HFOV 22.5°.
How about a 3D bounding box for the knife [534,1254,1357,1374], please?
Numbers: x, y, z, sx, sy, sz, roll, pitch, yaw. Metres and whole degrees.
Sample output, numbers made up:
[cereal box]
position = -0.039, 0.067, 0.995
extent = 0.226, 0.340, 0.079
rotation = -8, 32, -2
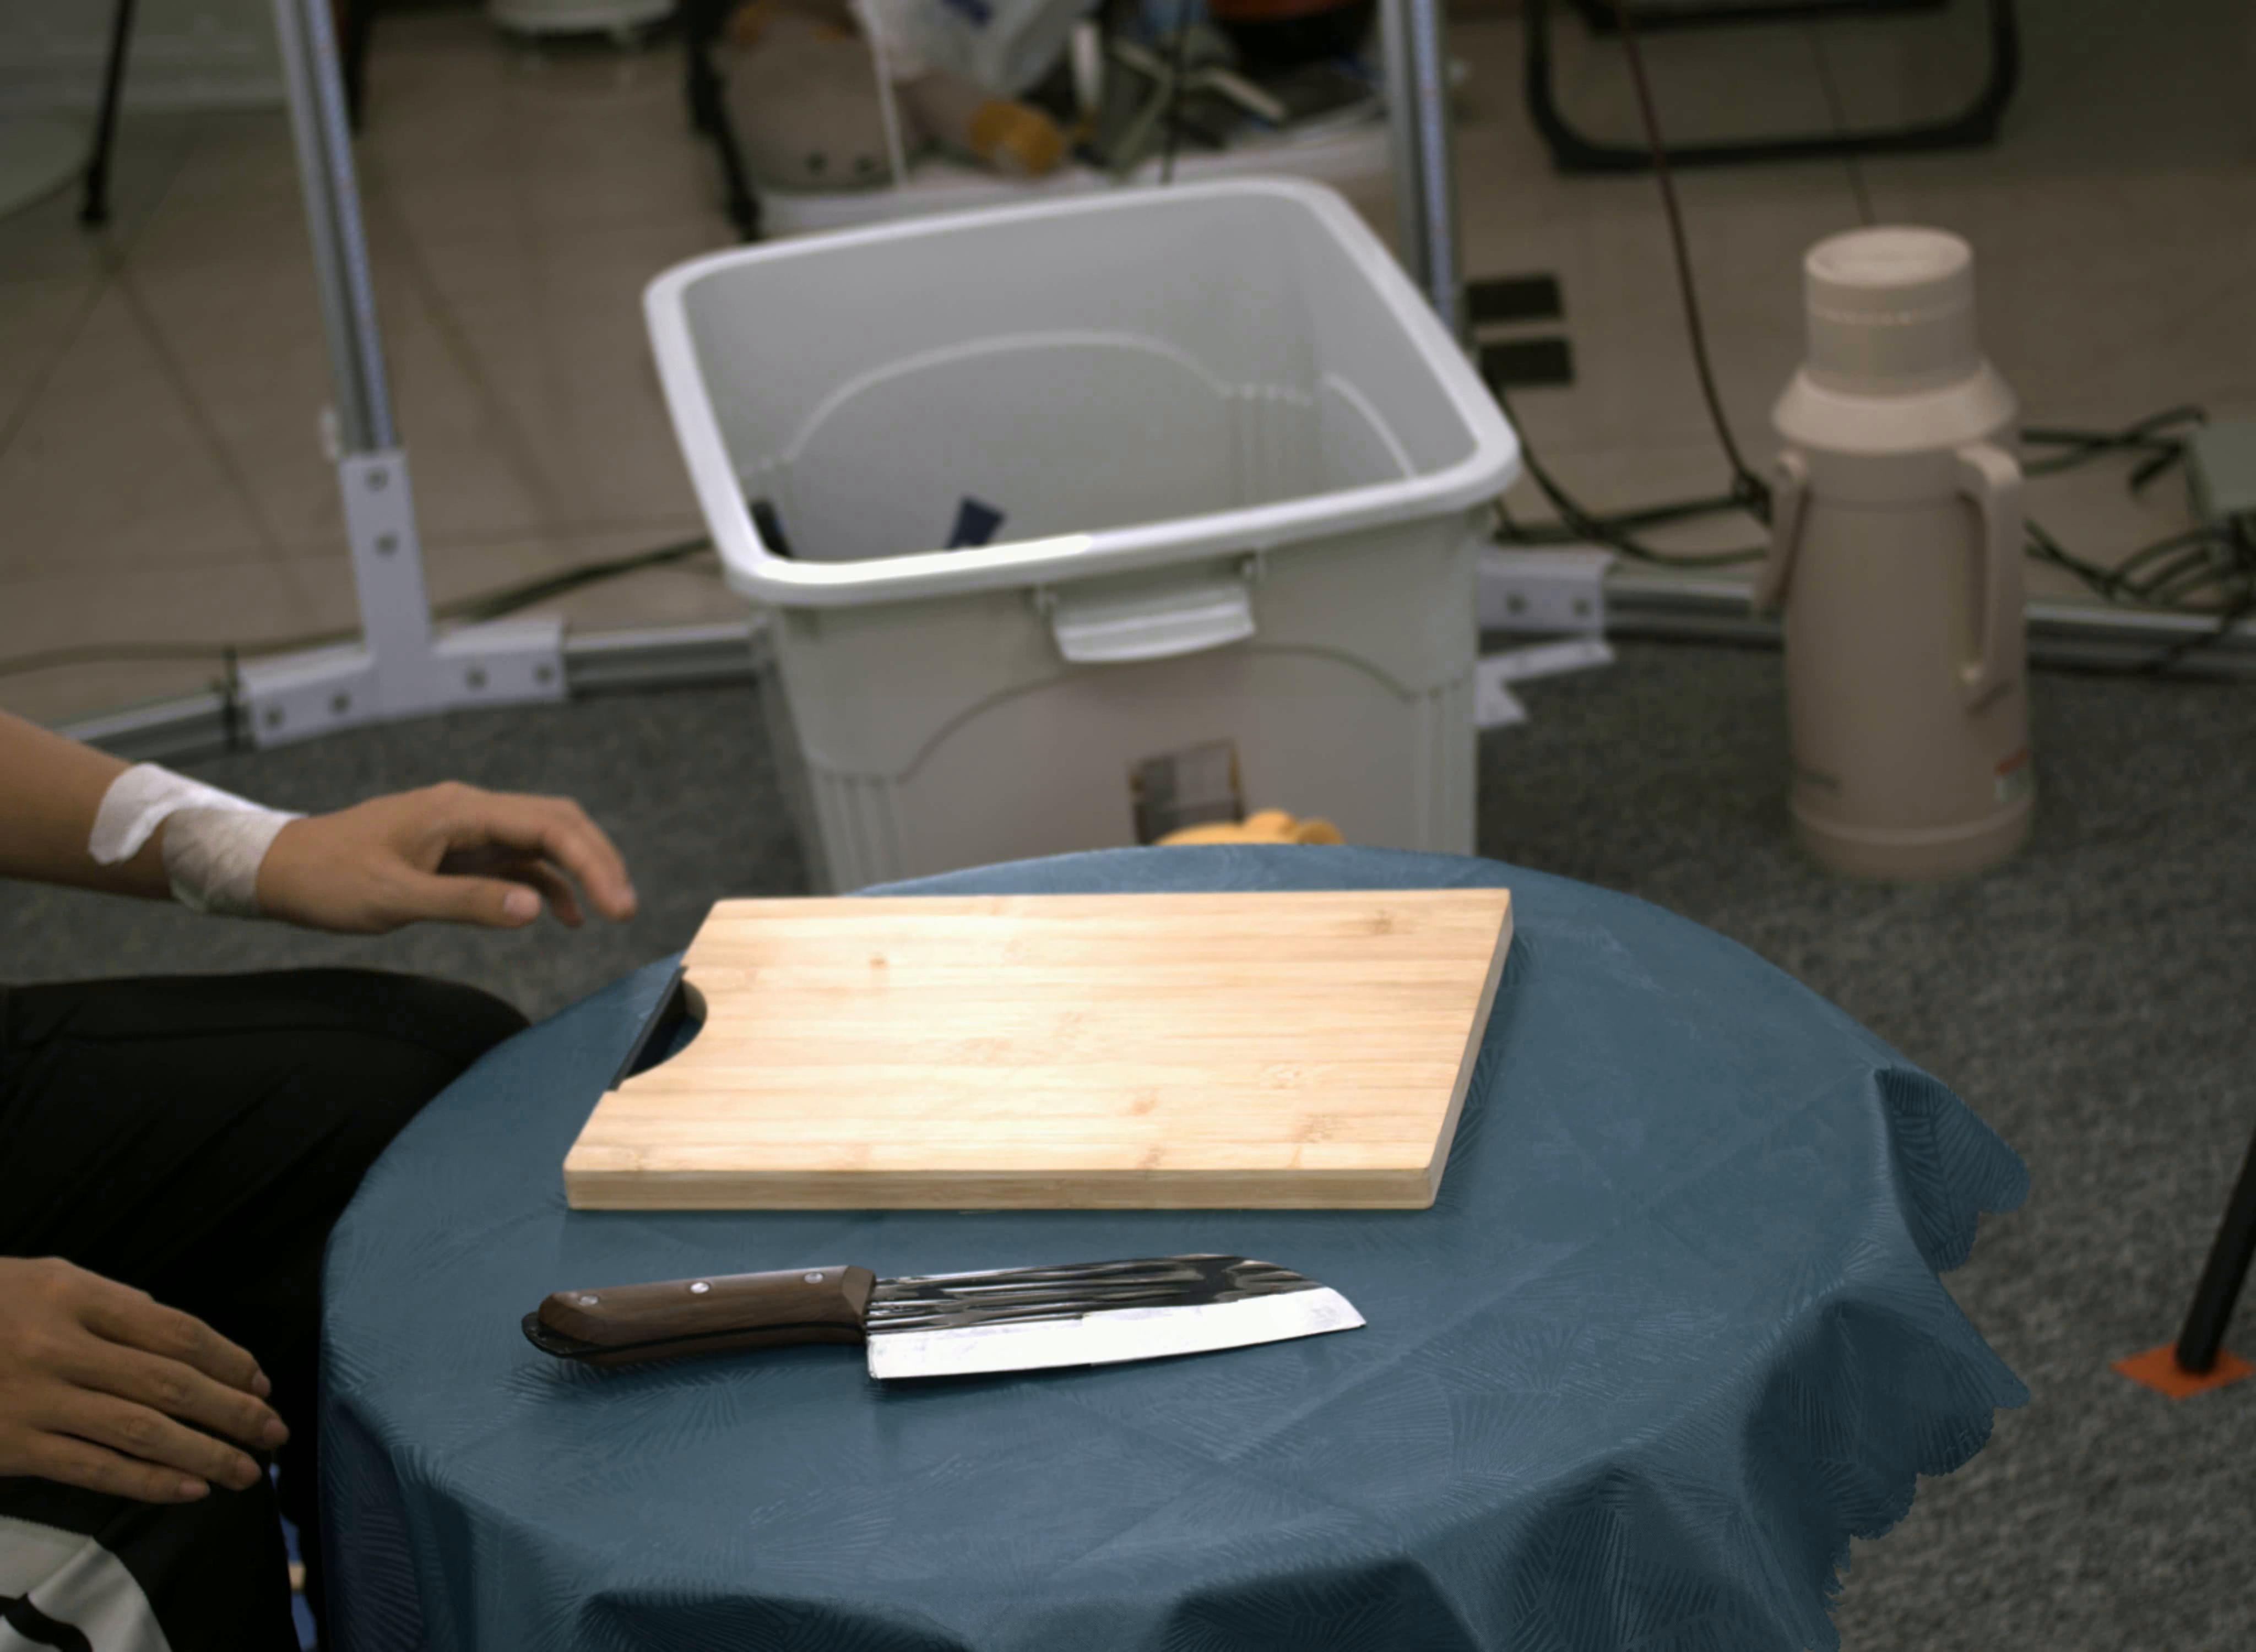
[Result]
[knife]
position = -0.067, 0.179, 2.059
extent = 0.299, 0.024, 0.067
rotation = -4, 27, -1

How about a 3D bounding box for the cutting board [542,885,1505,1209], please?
[cutting board]
position = -0.036, 0.087, 2.253
extent = 0.348, 0.024, 0.247
rotation = -1, 25, 12
